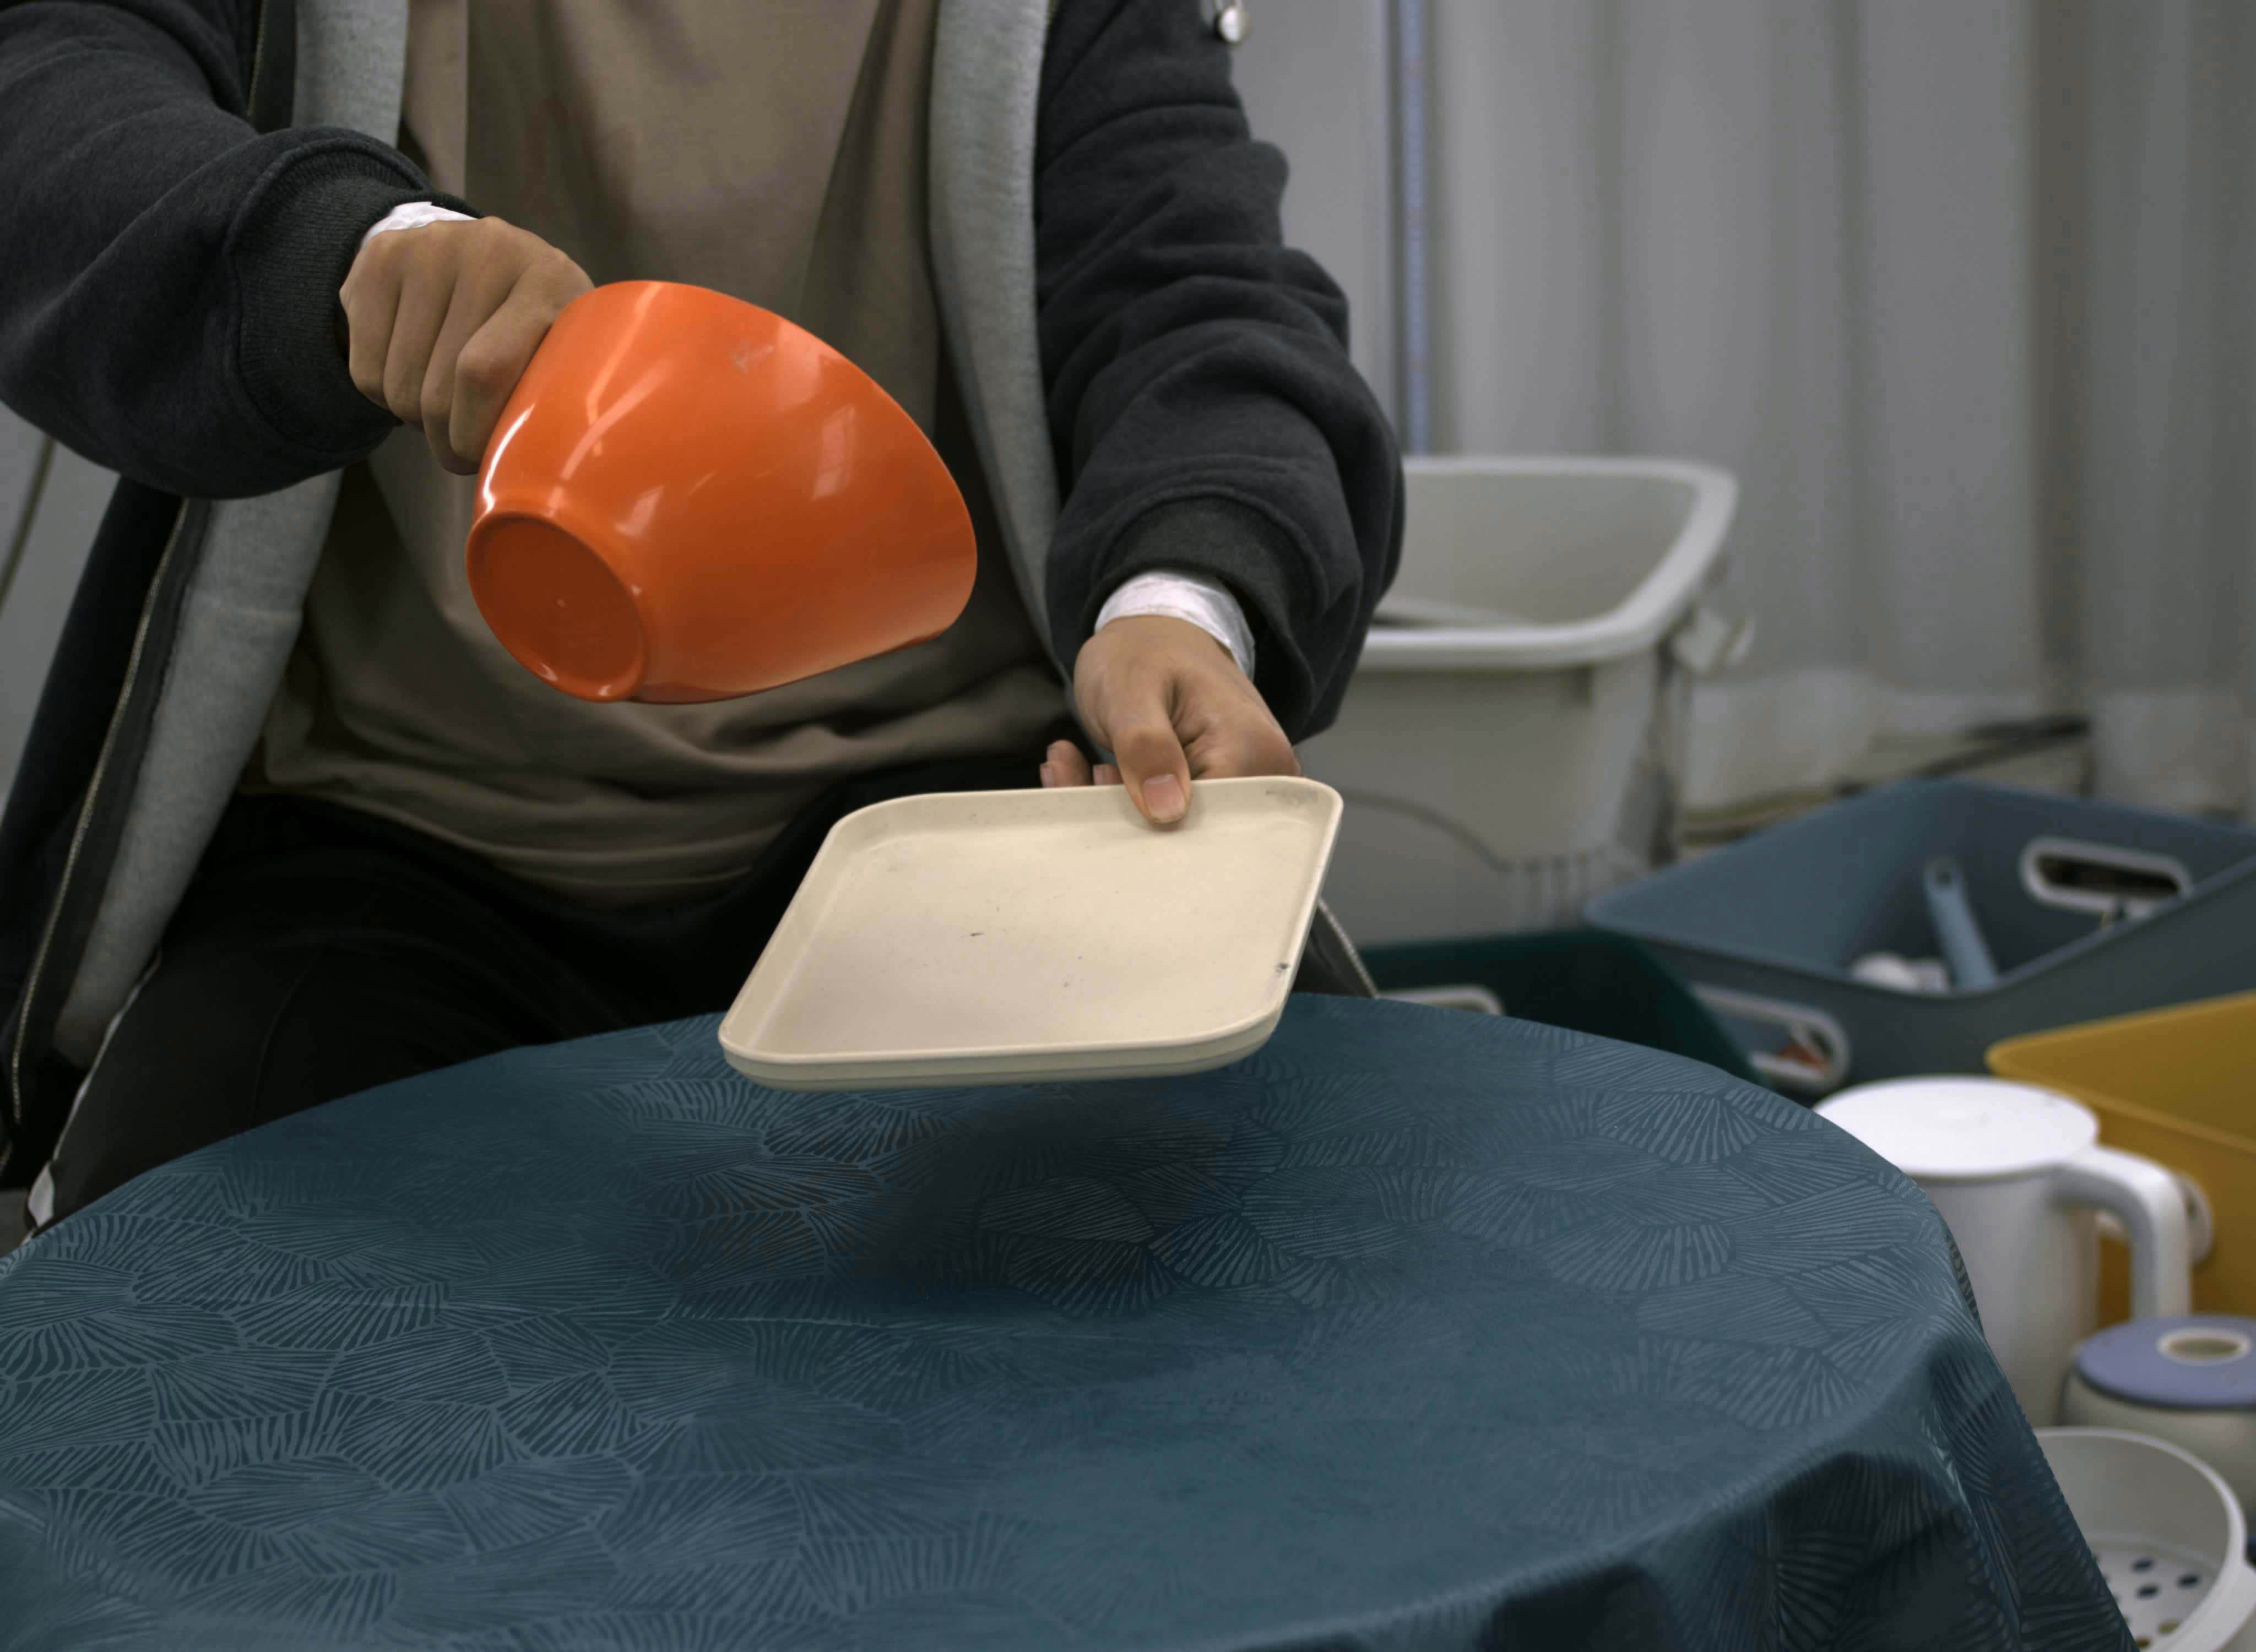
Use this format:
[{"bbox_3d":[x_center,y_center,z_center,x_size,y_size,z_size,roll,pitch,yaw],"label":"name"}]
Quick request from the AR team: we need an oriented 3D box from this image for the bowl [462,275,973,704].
[{"bbox_3d":[-0.132,-0.083,1.614,0.148,0.146,0.105,9,38,38],"label":"bowl"}]

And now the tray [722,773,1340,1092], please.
[{"bbox_3d":[-0.025,0.032,1.694,0.171,0.017,0.241,-4,18,10],"label":"tray"}]
